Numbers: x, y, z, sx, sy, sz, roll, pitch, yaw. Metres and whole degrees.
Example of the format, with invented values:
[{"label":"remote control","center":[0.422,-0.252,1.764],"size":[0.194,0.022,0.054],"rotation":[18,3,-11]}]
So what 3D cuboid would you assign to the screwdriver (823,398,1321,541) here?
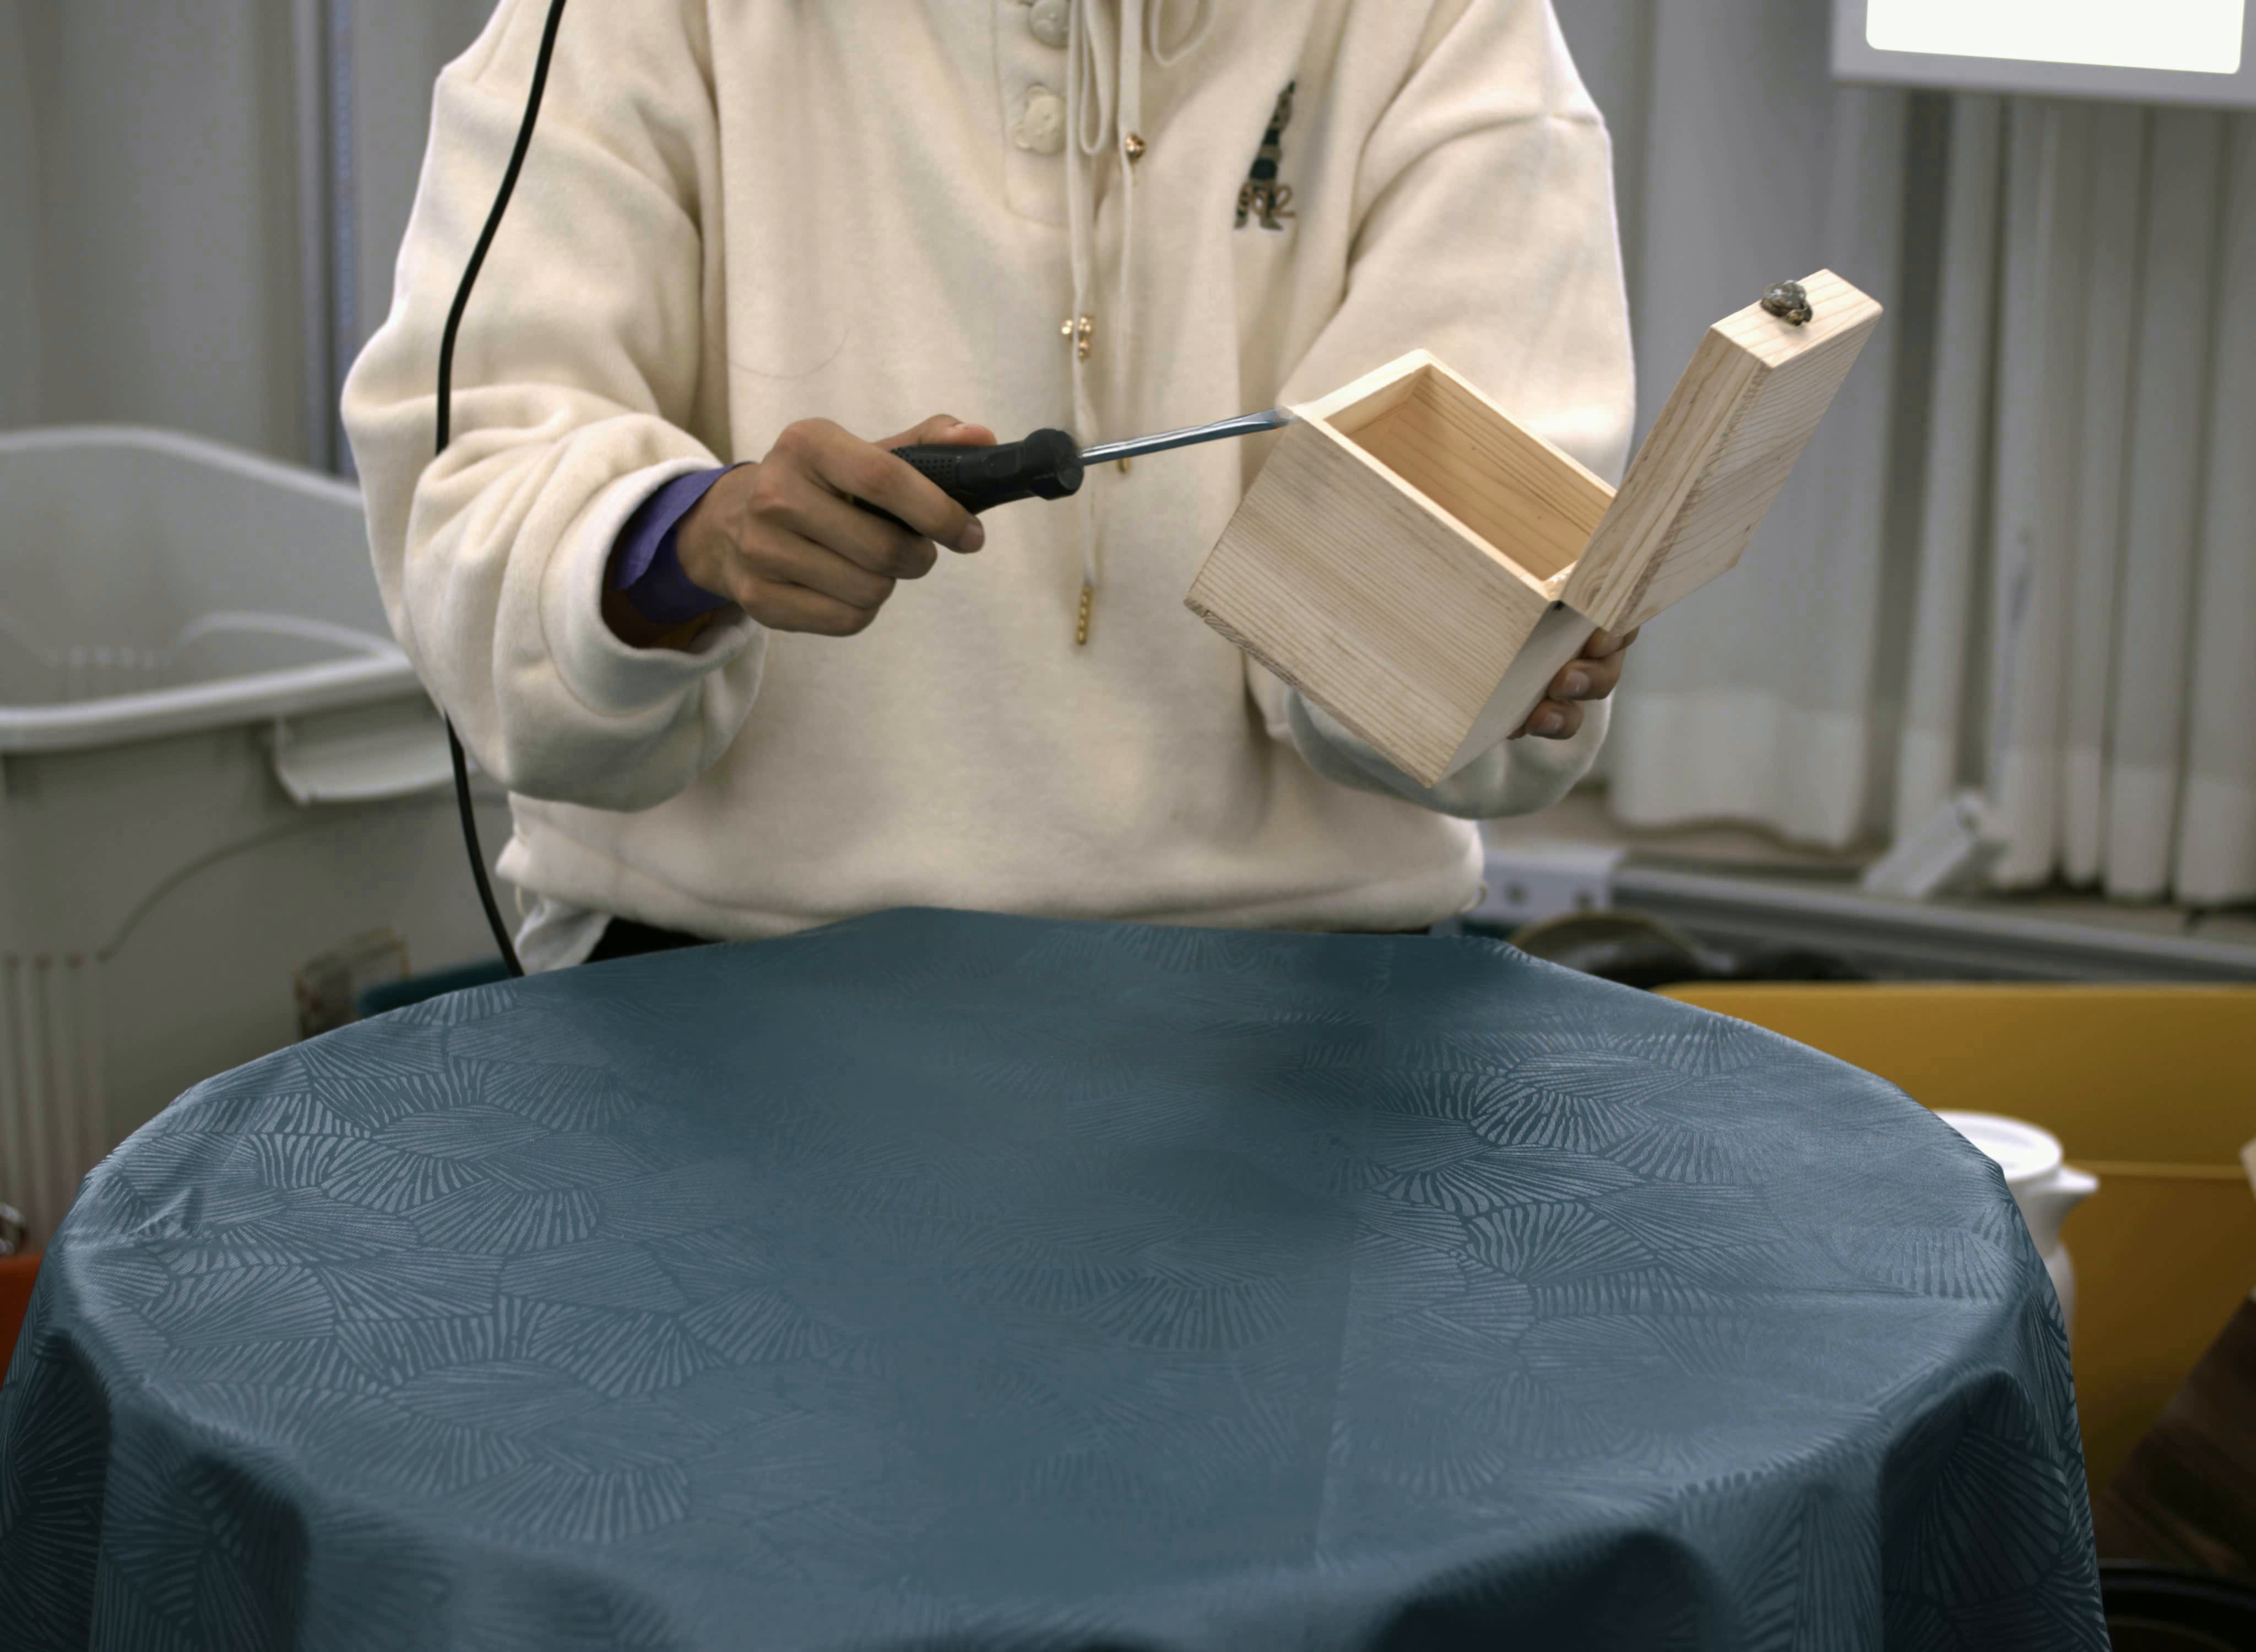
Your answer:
[{"label":"screwdriver","center":[-0.020,-0.117,1.718],"size":[0.196,0.031,0.031],"rotation":[-6,10,36]}]

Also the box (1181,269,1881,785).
[{"label":"box","center":[0.125,-0.118,1.650],"size":[0.133,0.185,0.103],"rotation":[38,30,12]}]
